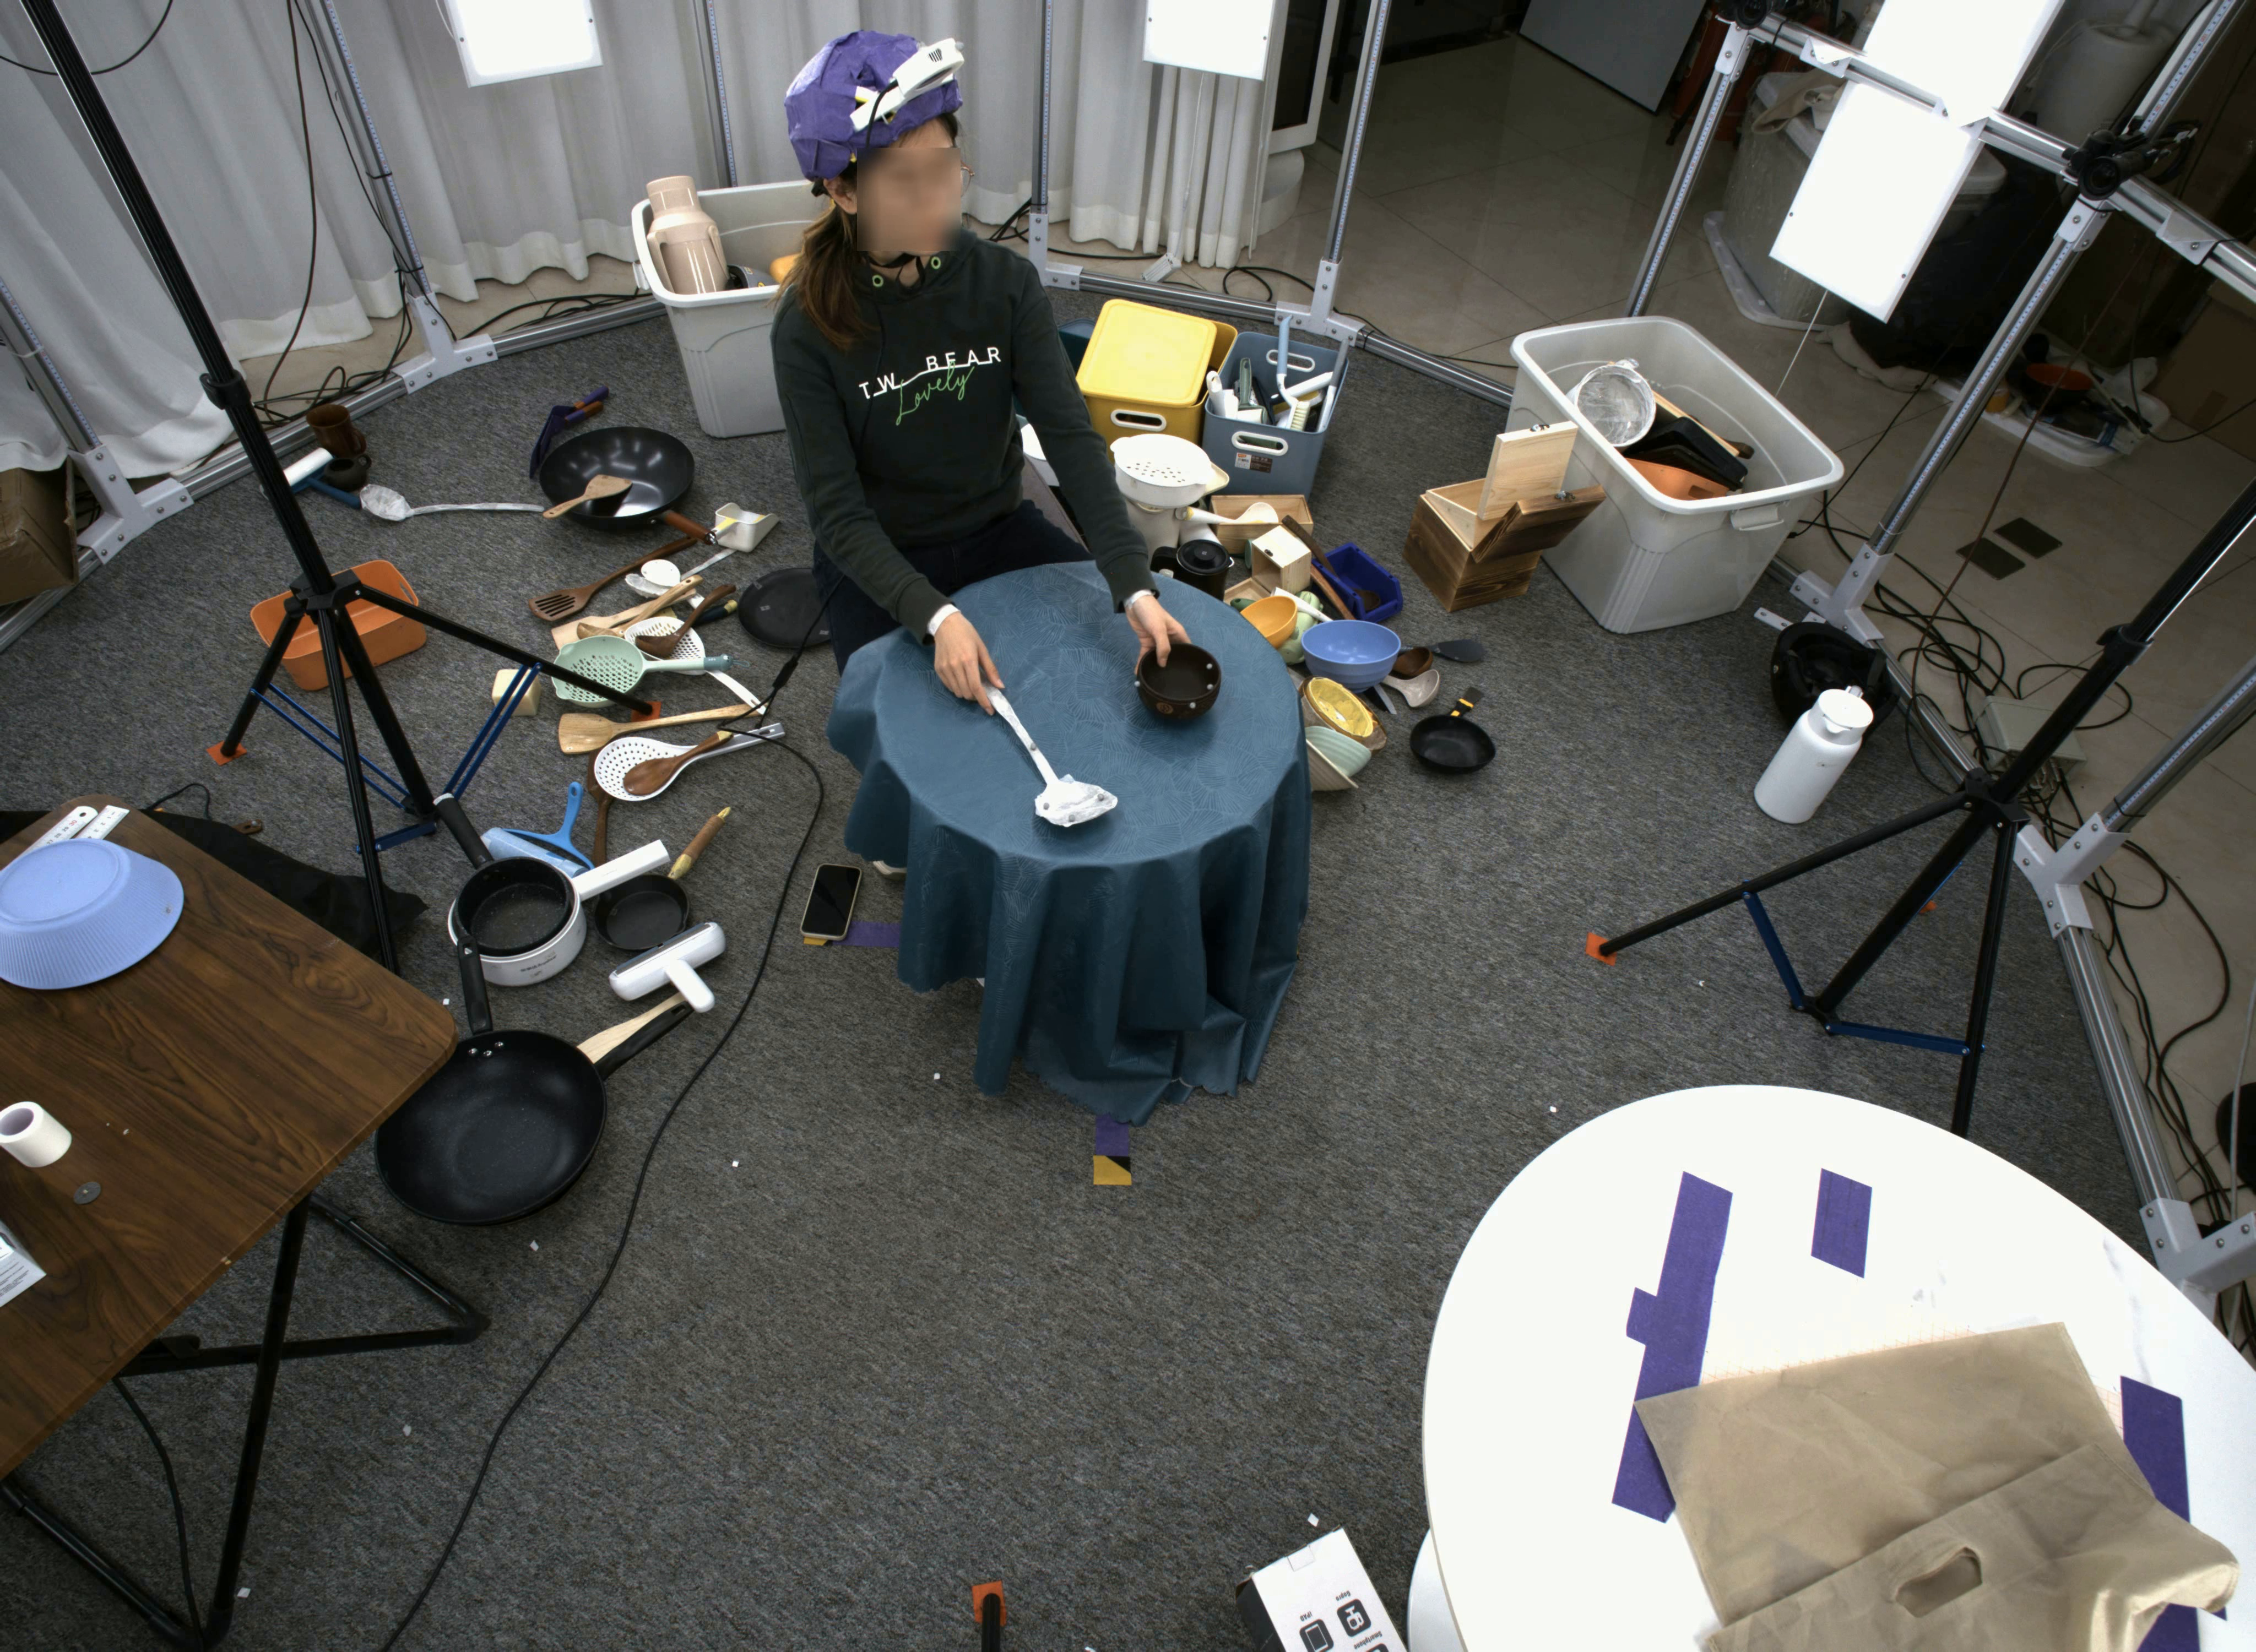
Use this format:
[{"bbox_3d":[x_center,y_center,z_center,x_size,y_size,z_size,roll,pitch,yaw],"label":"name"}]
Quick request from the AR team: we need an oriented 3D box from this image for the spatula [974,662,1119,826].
[{"bbox_3d":[-0.134,-0.123,1.756,0.099,0.044,0.373,-21,54,-20],"label":"spatula"}]

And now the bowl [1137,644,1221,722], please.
[{"bbox_3d":[0.070,-0.194,1.811,0.118,0.068,0.121,2,48,-3],"label":"bowl"}]
